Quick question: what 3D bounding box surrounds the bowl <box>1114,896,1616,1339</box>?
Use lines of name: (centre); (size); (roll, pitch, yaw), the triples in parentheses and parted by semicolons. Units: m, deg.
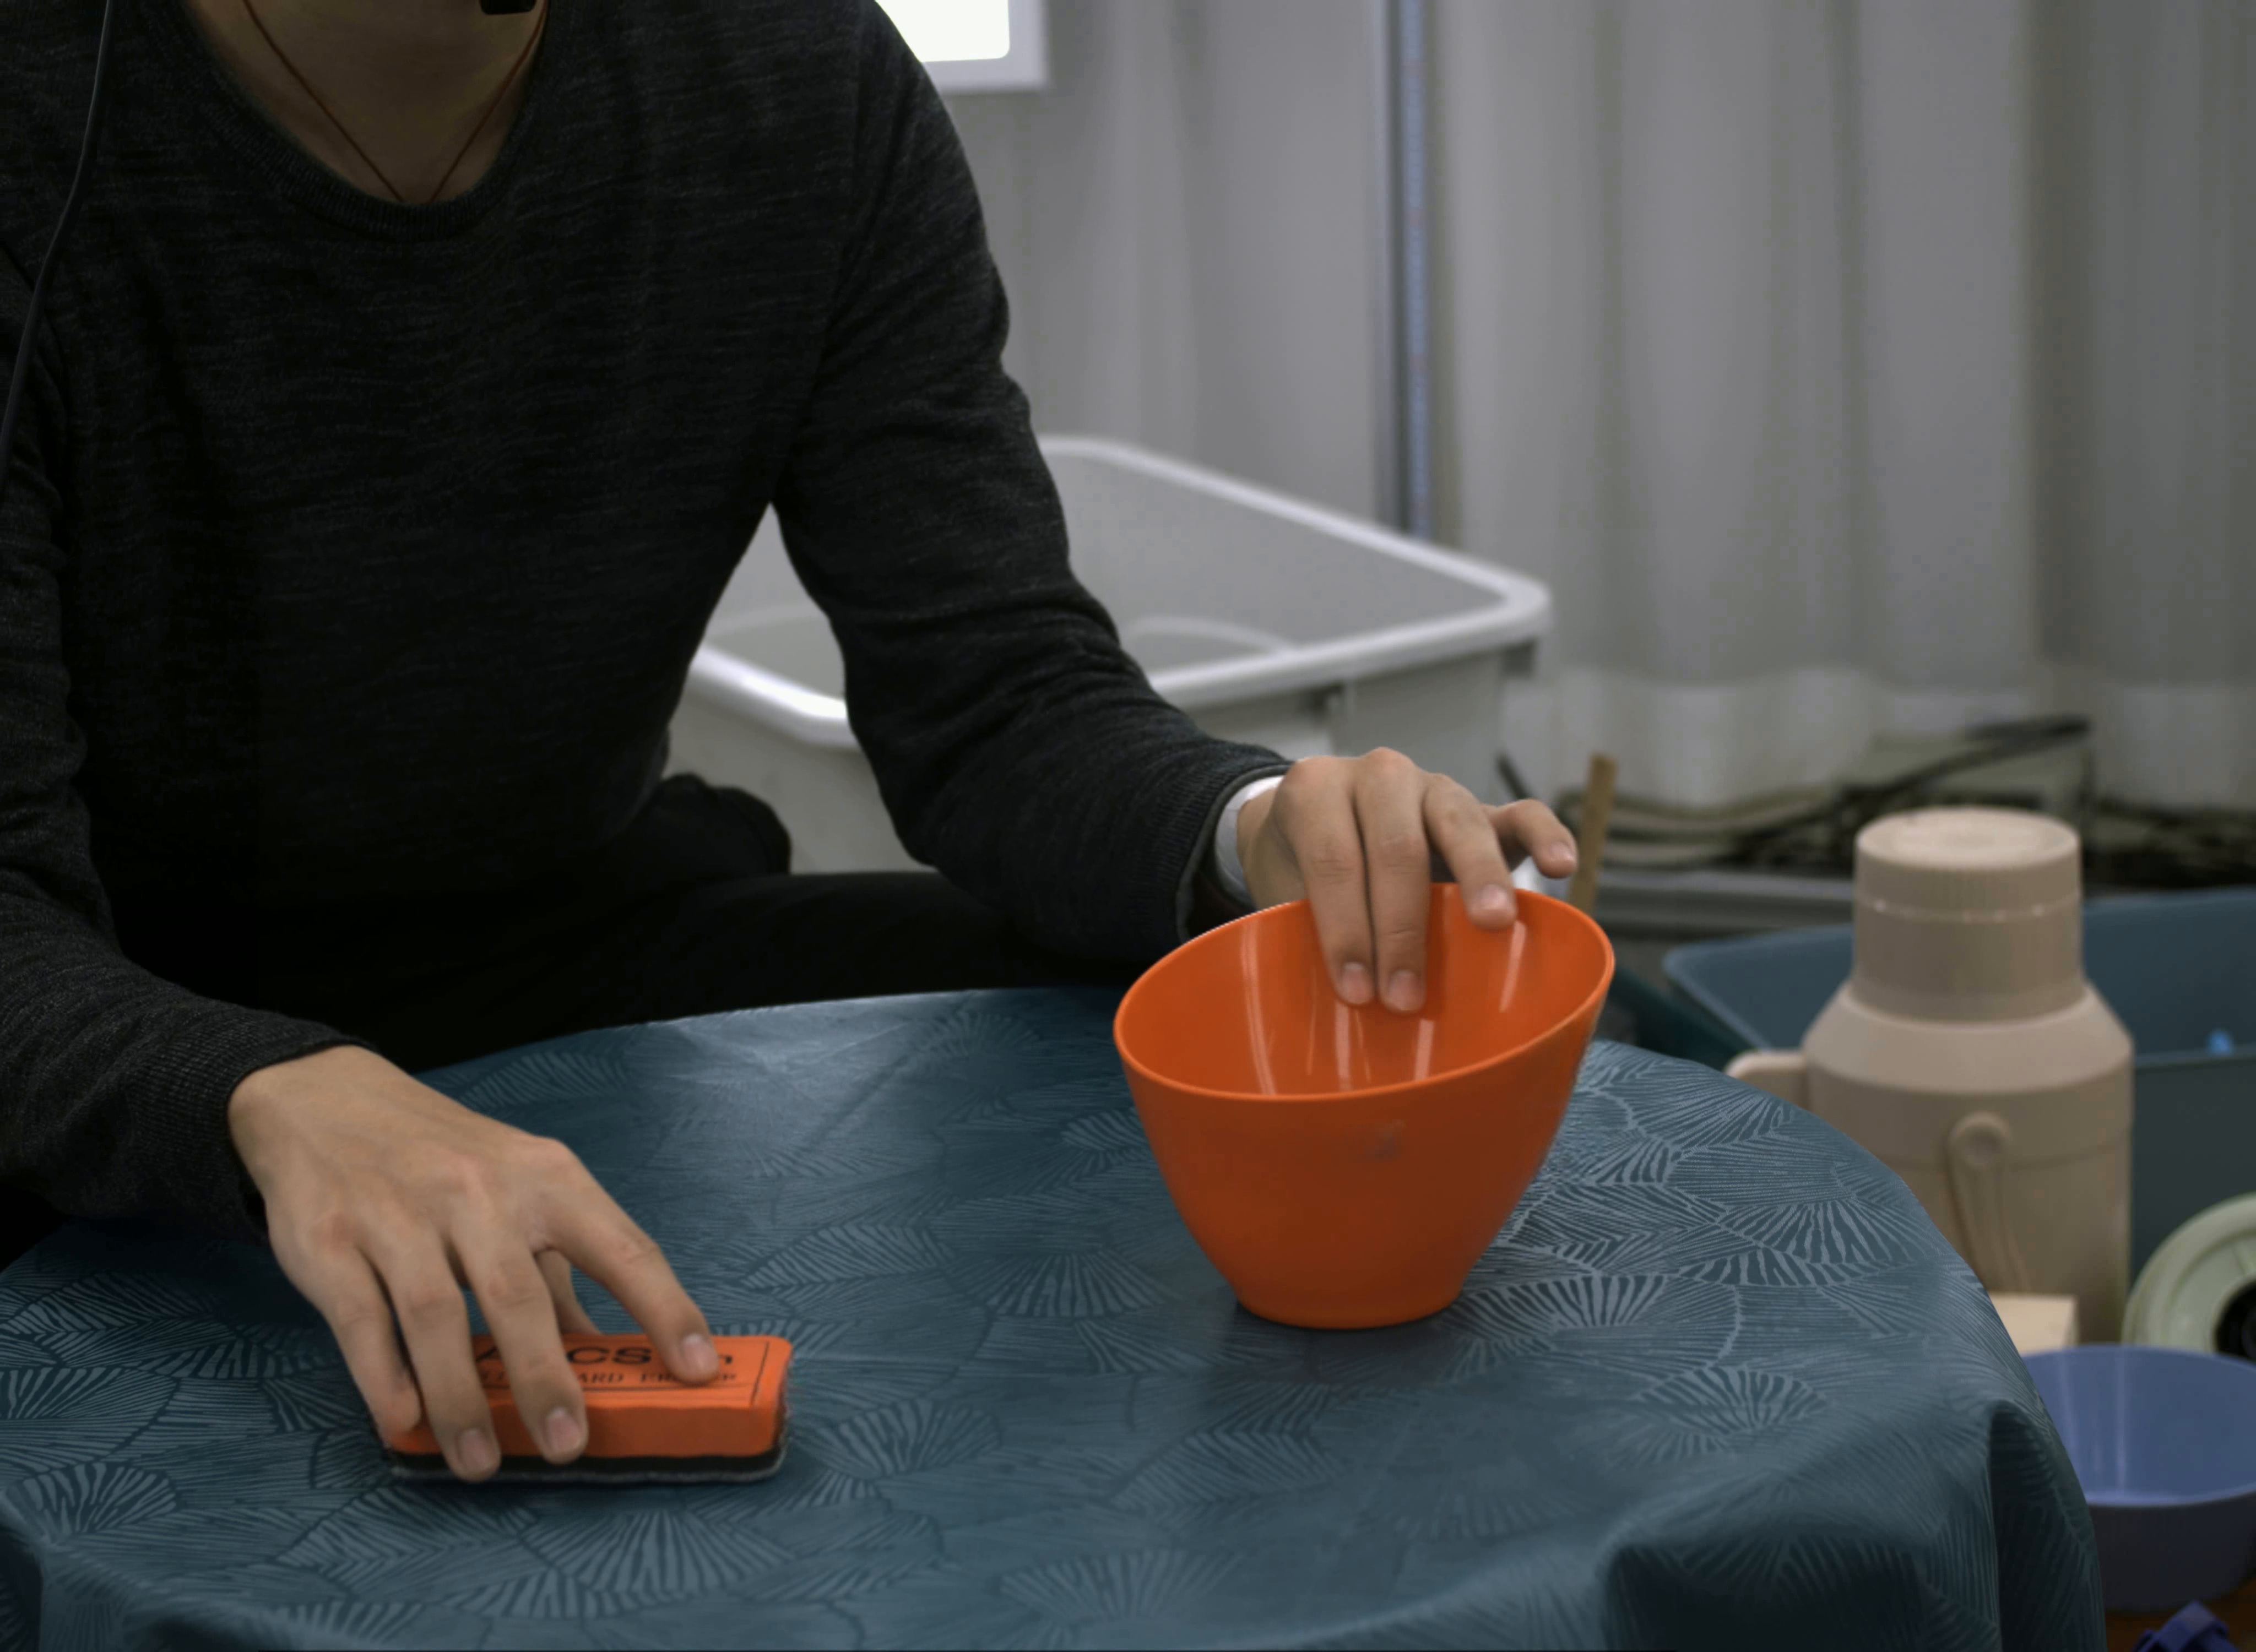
bowl: (0.071, 0.089, 1.607); (0.147, 0.104, 0.149); (-2, 14, 0)

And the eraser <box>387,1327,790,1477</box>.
eraser: (-0.148, 0.159, 1.512); (0.108, 0.023, 0.059); (1, 16, 2)
